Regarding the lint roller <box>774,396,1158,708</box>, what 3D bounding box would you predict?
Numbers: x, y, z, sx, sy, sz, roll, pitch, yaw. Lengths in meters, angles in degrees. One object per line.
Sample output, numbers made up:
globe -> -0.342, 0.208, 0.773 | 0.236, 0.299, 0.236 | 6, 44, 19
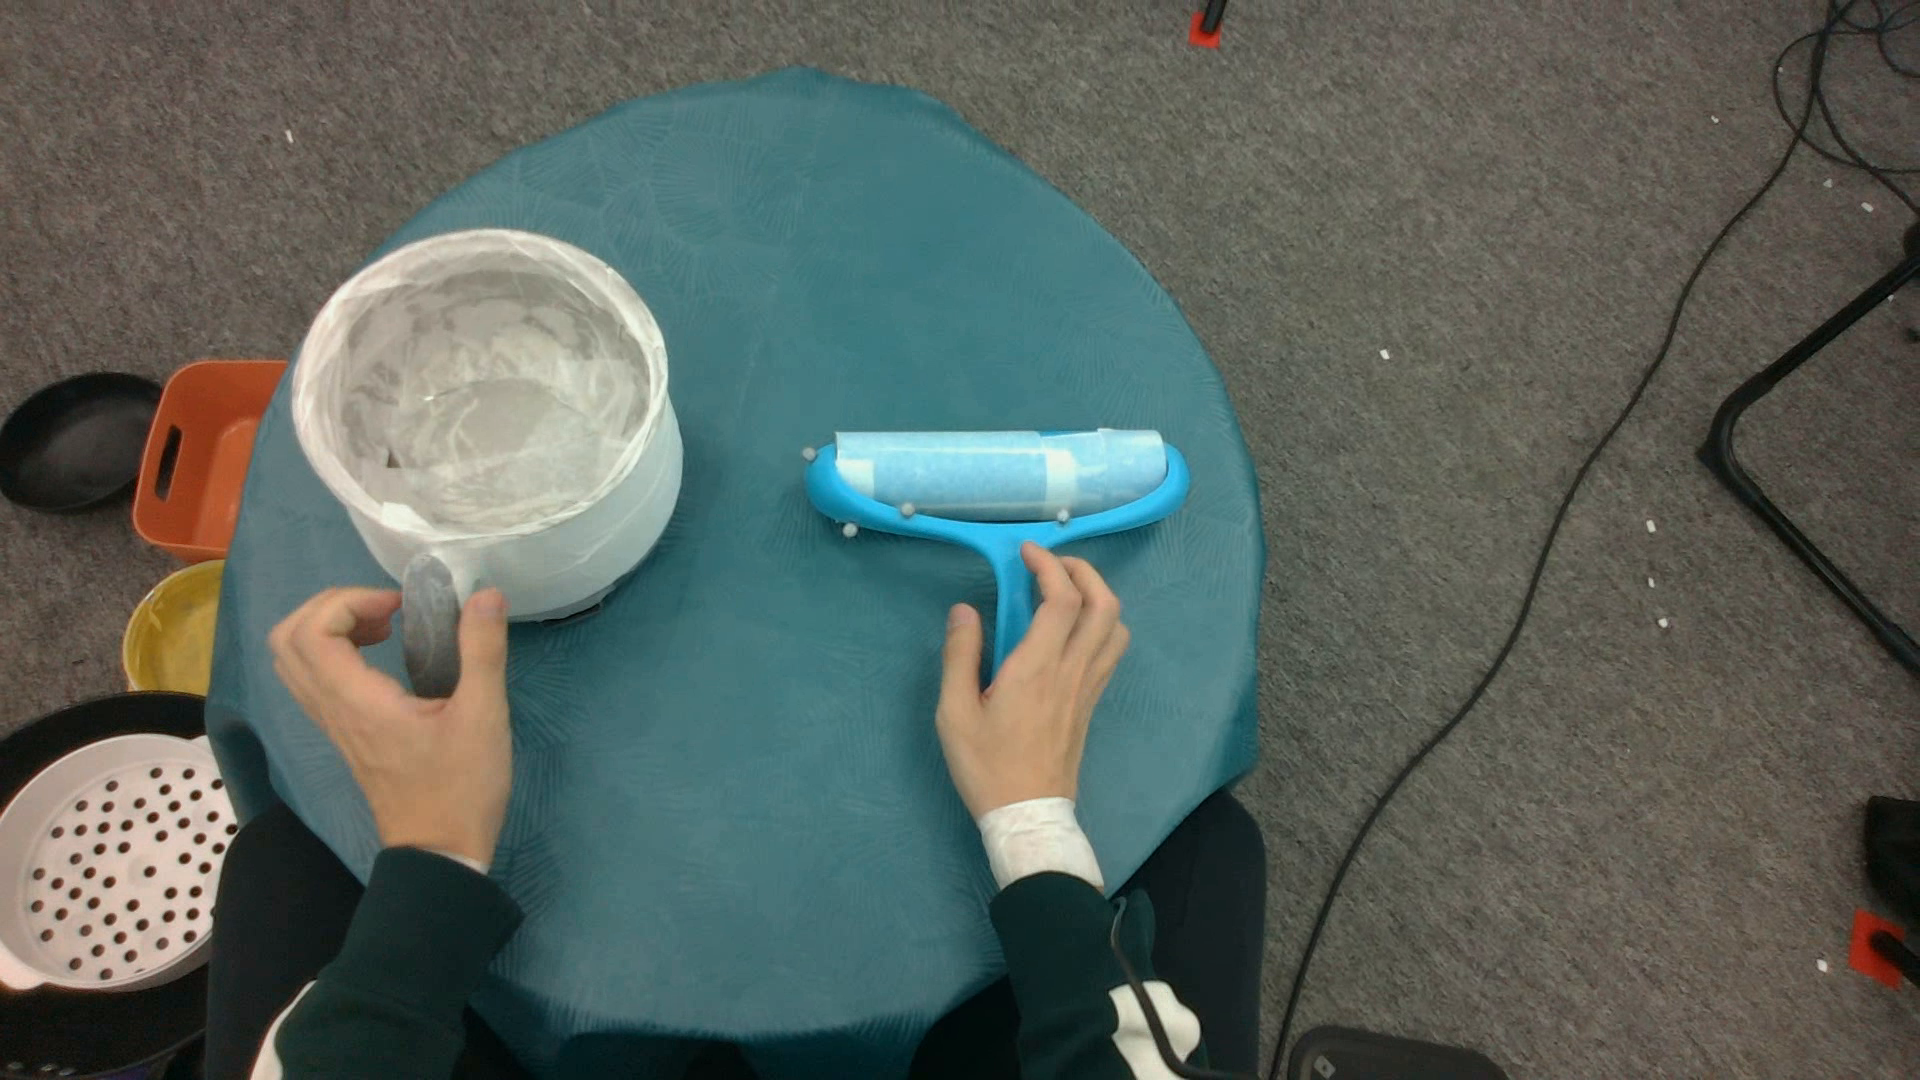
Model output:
lint roller -> 0.015, 0.001, 0.791 | 0.229, 0.067, 0.181 | -6, 67, -12

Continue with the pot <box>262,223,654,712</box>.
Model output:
pot -> -0.258, -0.033, 0.723 | 0.179, 0.136, 0.234 | 6, 65, -5
